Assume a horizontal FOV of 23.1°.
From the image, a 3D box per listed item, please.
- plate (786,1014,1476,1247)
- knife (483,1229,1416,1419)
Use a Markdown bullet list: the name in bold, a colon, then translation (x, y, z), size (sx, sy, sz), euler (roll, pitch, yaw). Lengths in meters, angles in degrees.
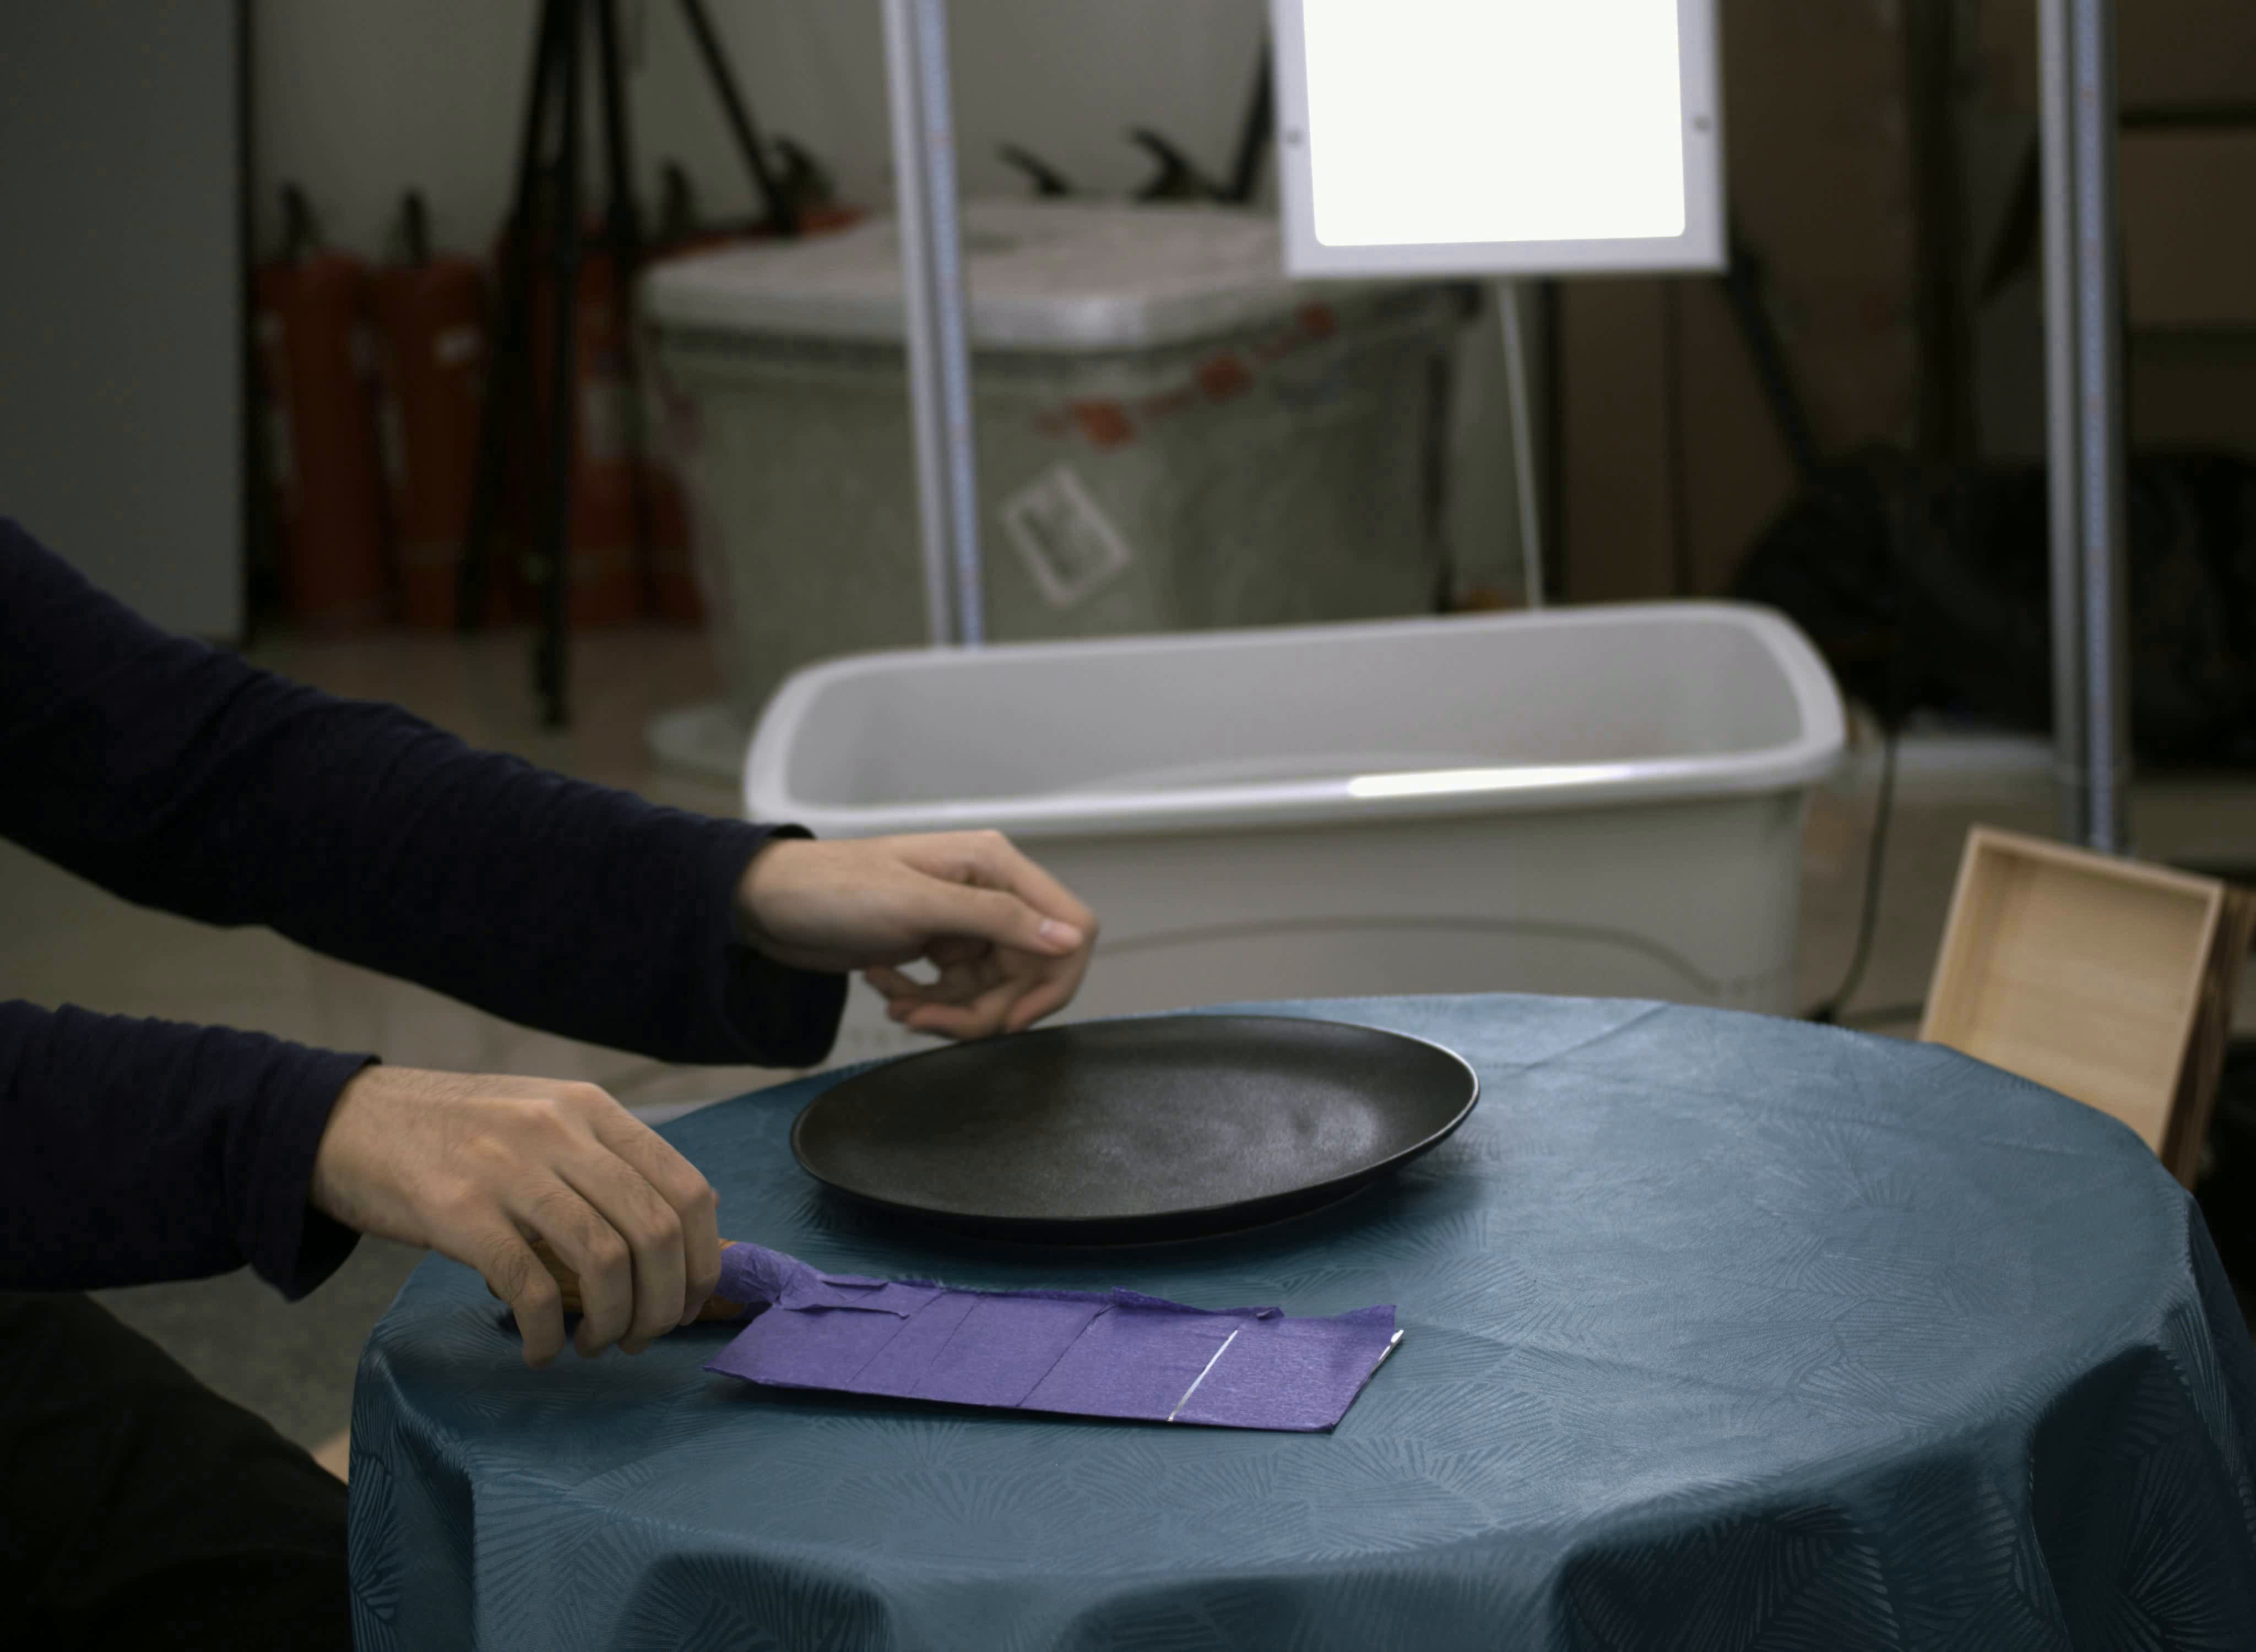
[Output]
- **plate**: translation (0.002, 0.109, 1.928), size (0.244, 0.023, 0.244), euler (-5, 13, 0)
- **knife**: translation (-0.070, 0.158, 1.746), size (0.319, 0.032, 0.102), euler (1, 15, 21)
